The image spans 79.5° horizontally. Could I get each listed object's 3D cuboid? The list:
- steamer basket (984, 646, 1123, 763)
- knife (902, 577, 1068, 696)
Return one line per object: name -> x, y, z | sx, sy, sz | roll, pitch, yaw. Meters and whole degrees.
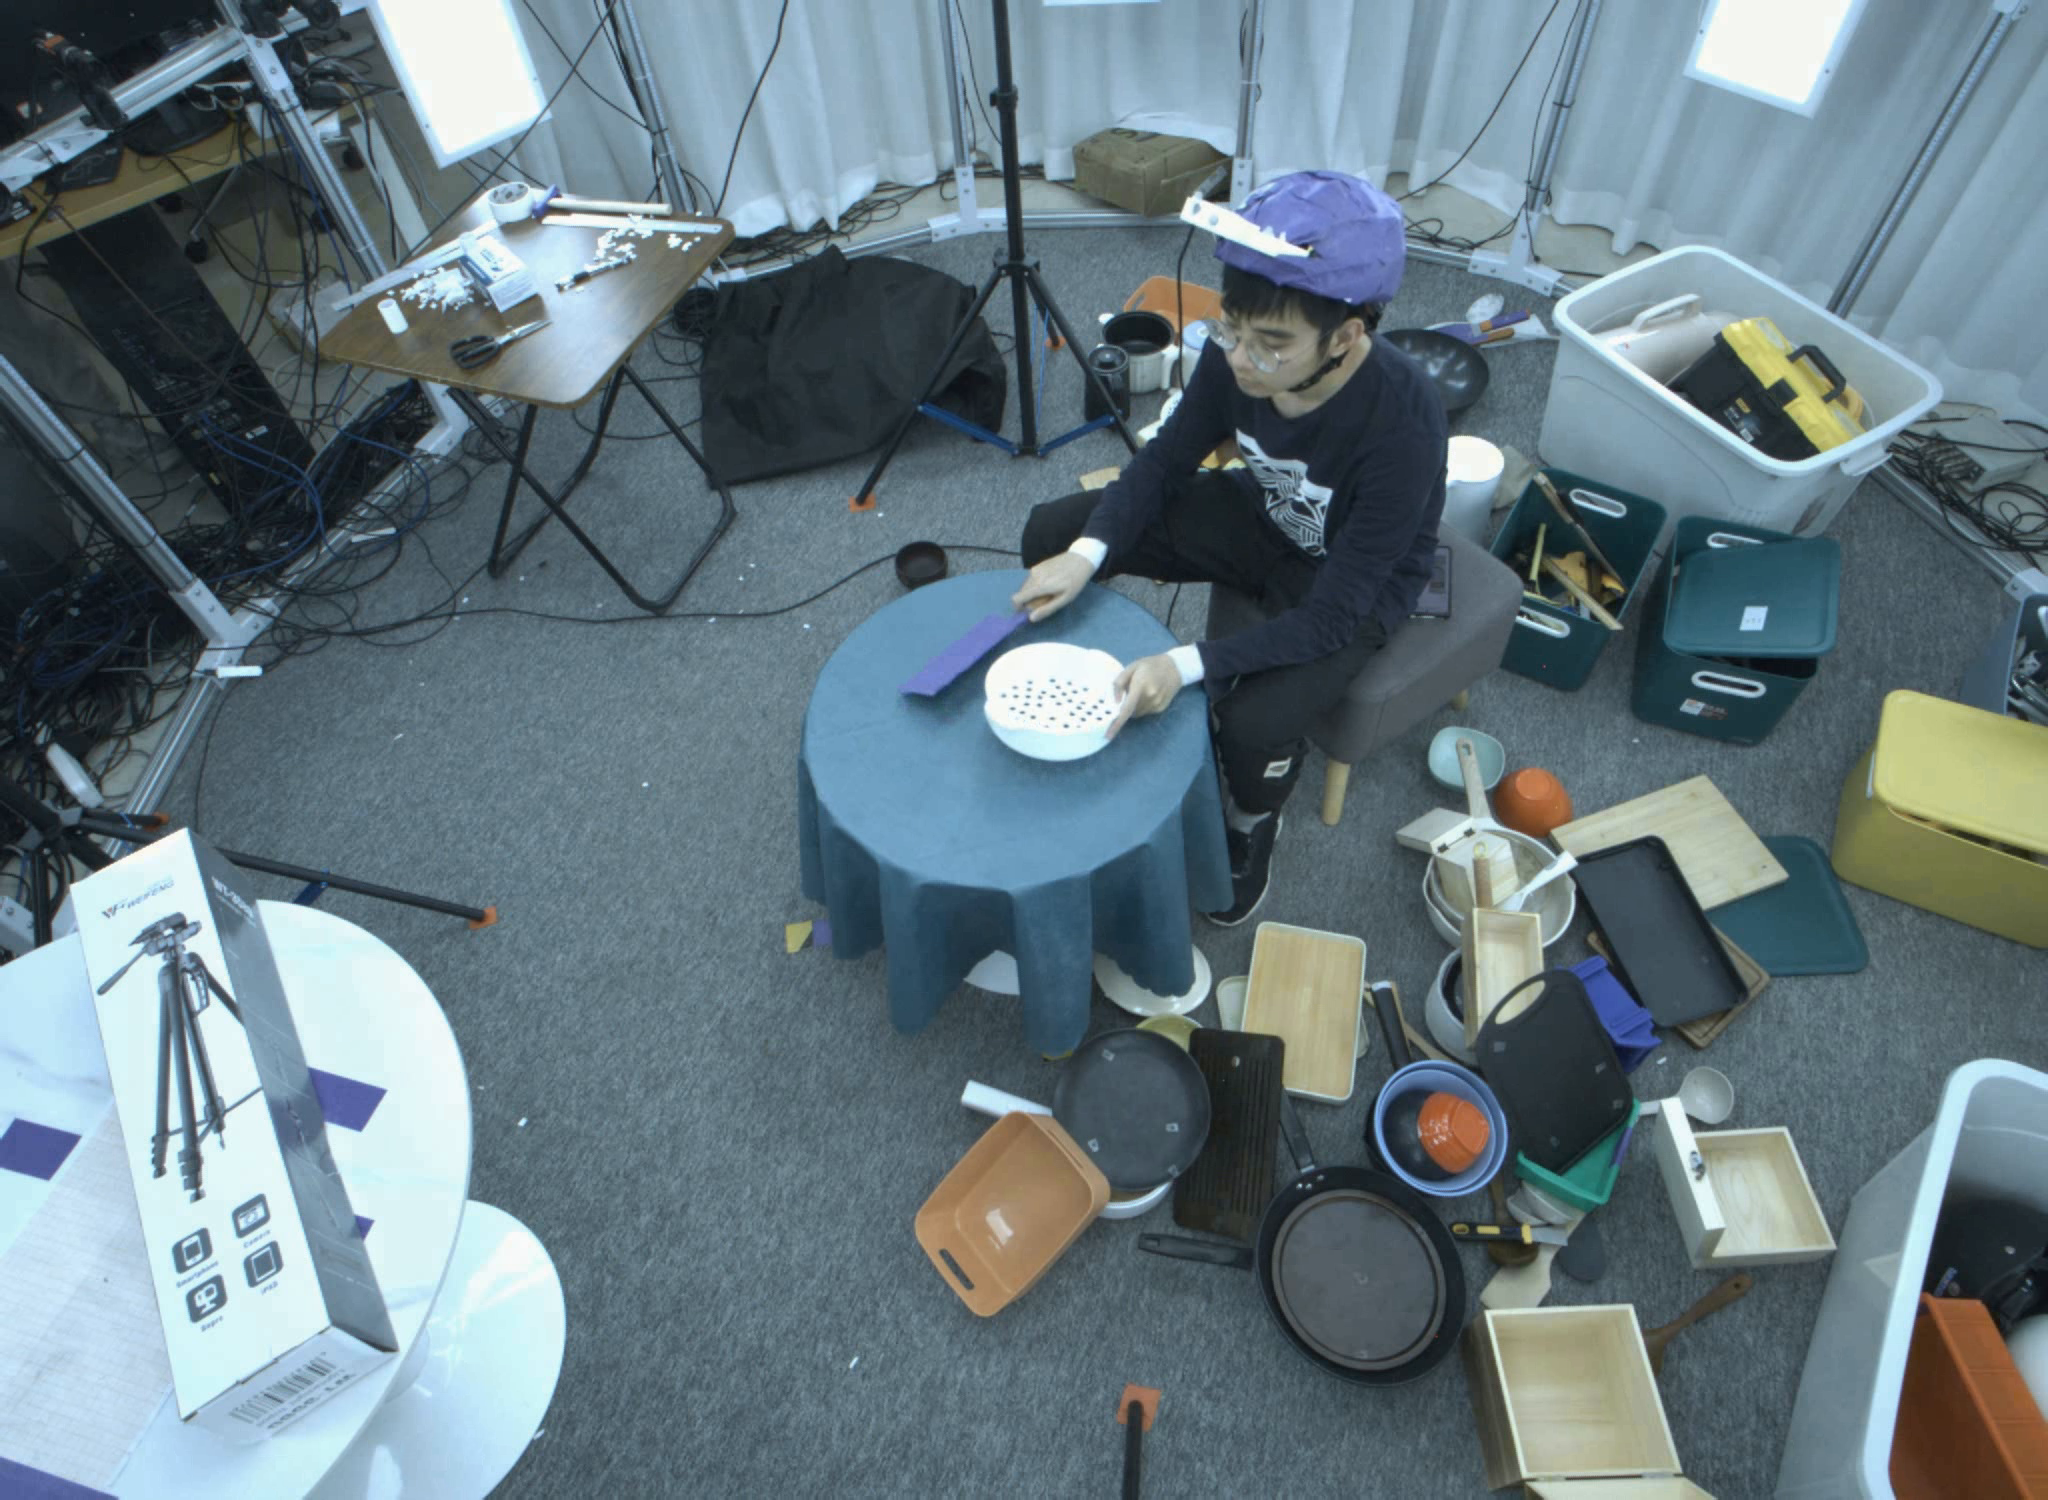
steamer basket -> 0.040, -0.065, 1.781 | 0.234, 0.069, 0.198 | -27, 54, -34
knife -> -0.062, -0.178, 1.889 | 0.101, 0.032, 0.318 | 13, 44, 44
